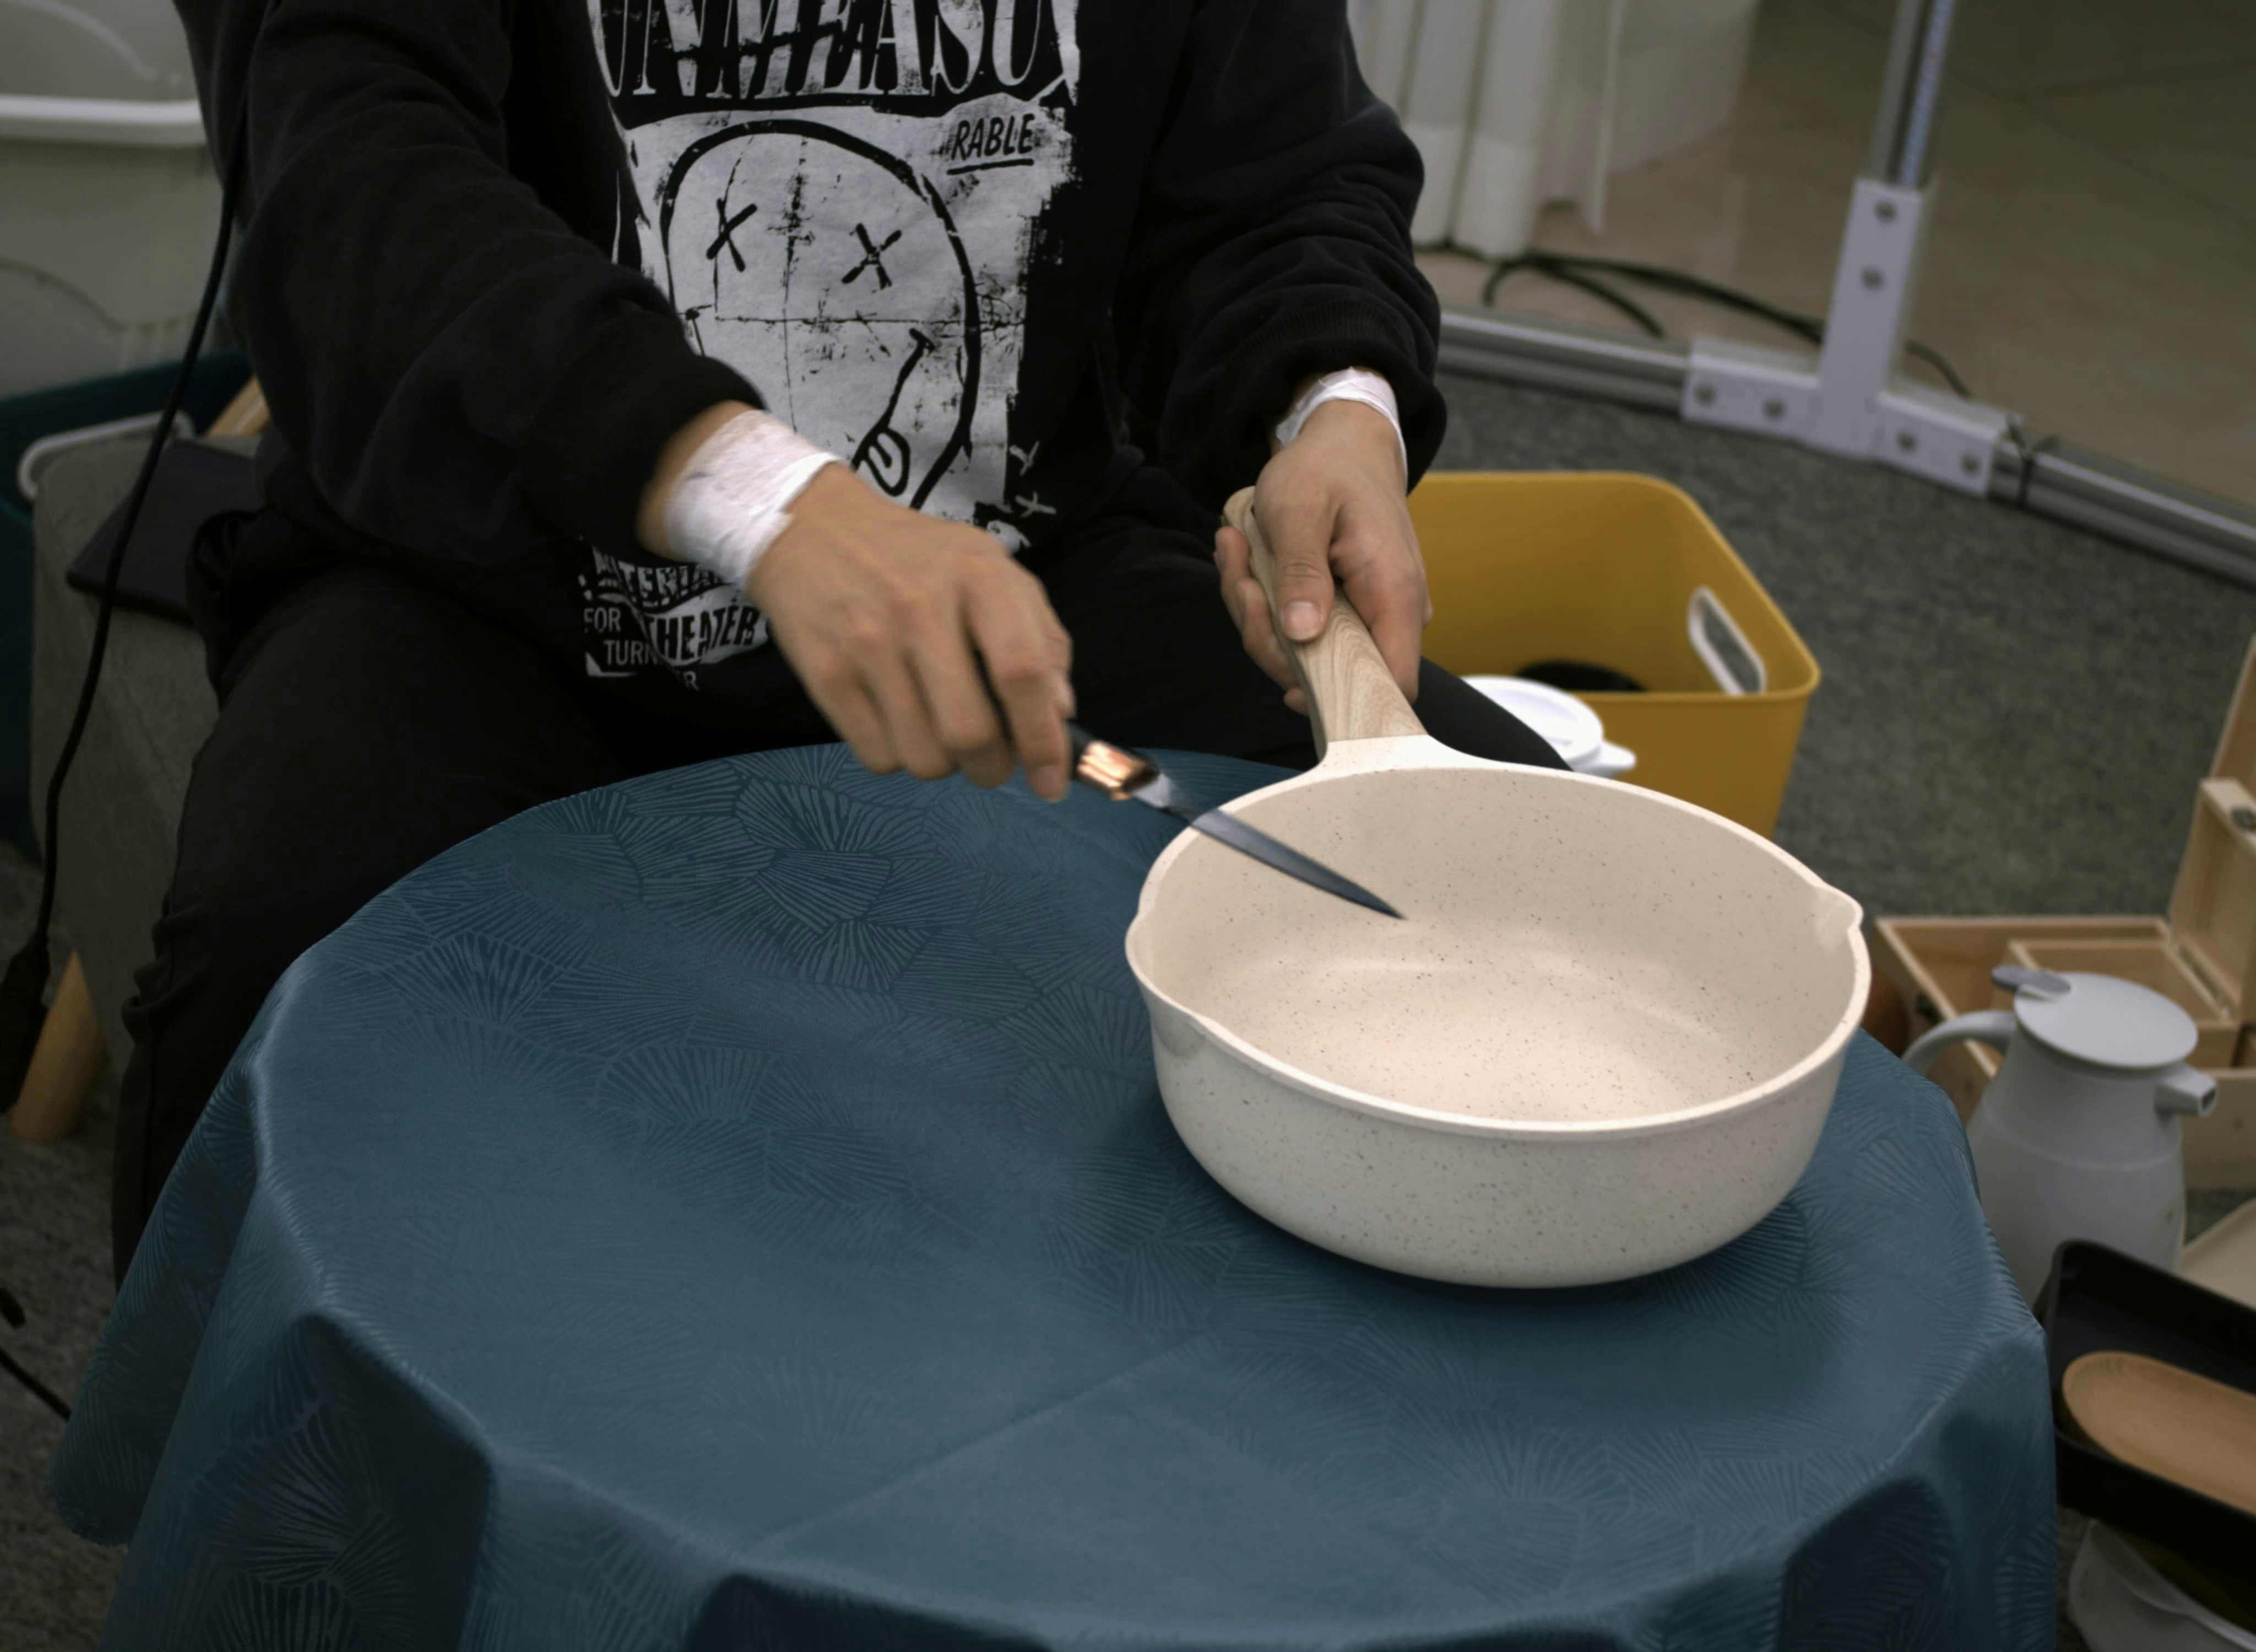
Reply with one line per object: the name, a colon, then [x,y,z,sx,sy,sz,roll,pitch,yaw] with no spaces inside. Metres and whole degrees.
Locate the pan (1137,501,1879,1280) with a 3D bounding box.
pan: [0.104,0.020,1.911,0.262,0.101,0.438,-7,30,-14]

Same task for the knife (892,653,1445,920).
knife: [0.011,-0.013,1.791,0.227,0.017,0.026,26,16,29]
